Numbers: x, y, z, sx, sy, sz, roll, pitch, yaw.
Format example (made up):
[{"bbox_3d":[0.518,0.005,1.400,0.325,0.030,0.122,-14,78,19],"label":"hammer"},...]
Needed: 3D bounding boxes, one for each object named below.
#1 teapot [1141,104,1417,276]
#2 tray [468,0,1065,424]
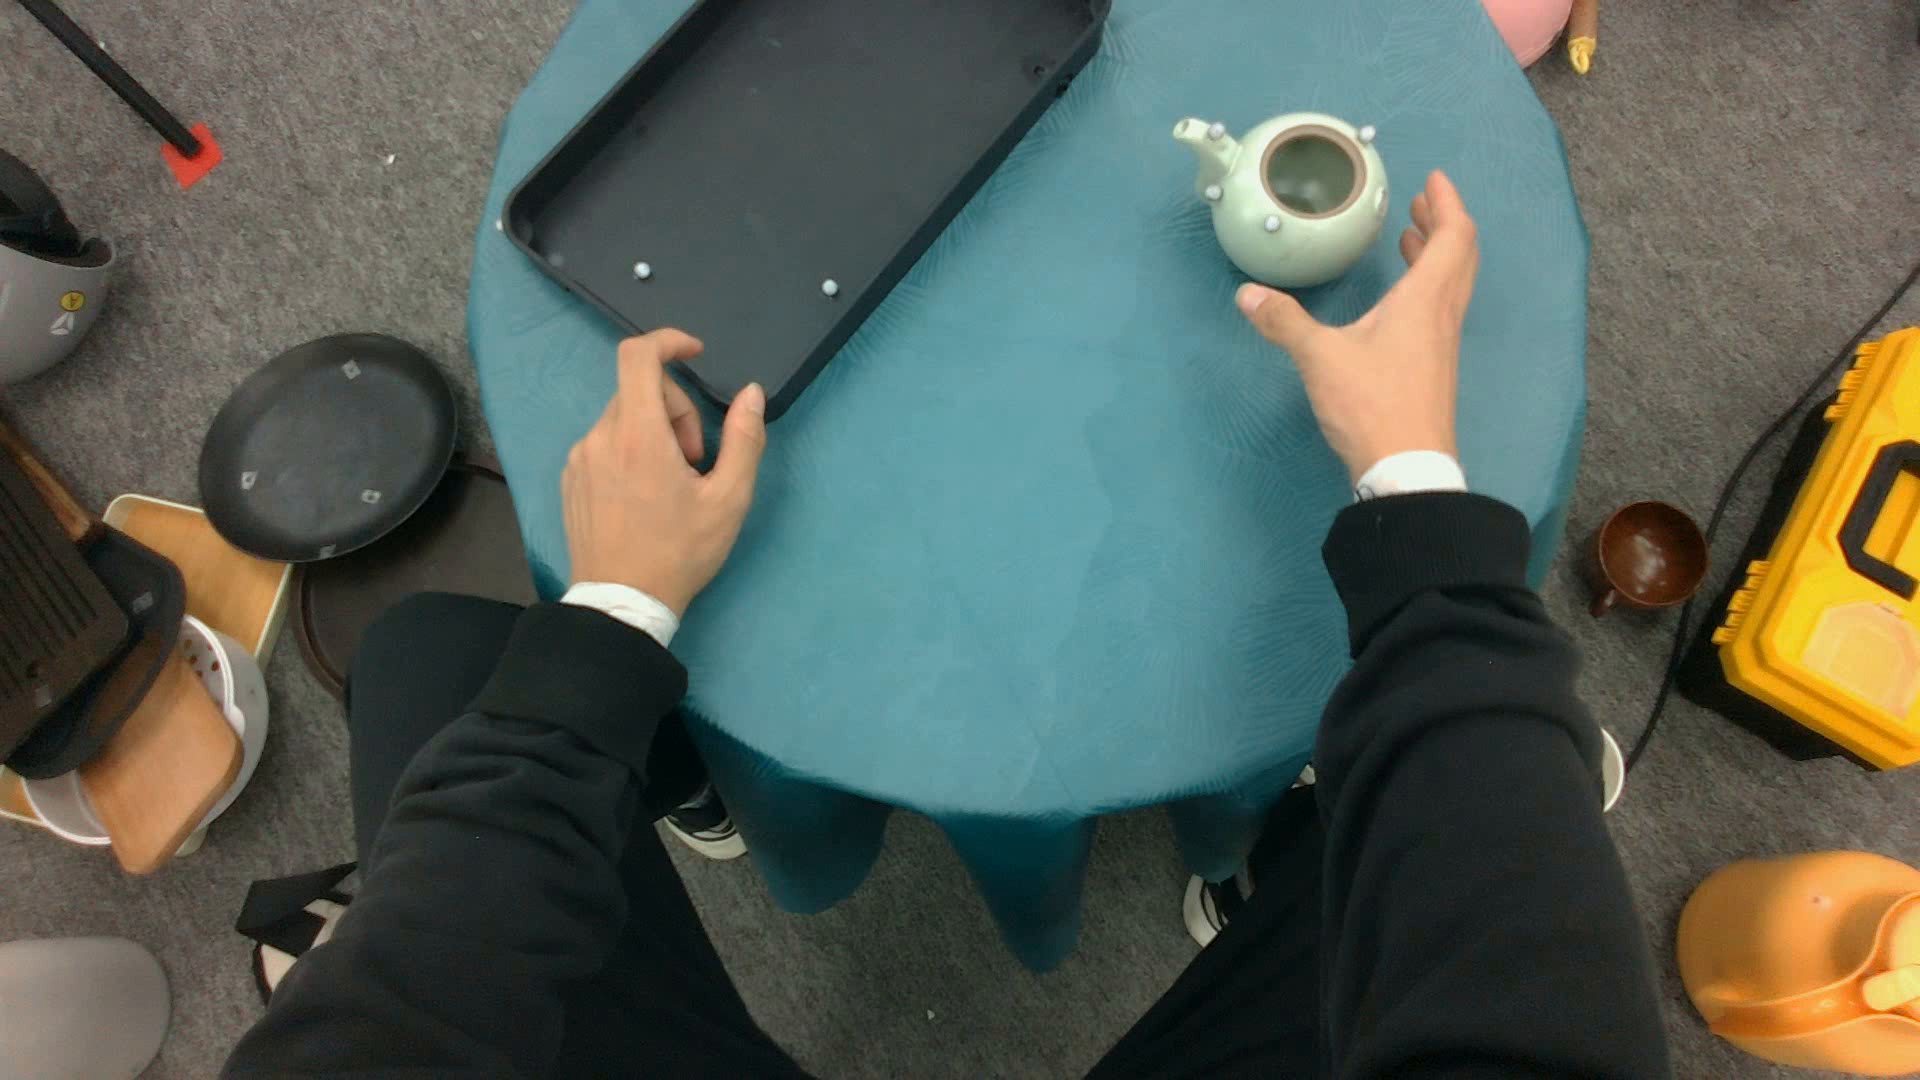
[{"bbox_3d":[0.160,-0.182,0.715,0.144,0.074,0.088,20,76,7],"label":"teapot"},{"bbox_3d":[-0.098,-0.229,0.748,0.184,0.037,0.318,34,77,9],"label":"tray"}]
